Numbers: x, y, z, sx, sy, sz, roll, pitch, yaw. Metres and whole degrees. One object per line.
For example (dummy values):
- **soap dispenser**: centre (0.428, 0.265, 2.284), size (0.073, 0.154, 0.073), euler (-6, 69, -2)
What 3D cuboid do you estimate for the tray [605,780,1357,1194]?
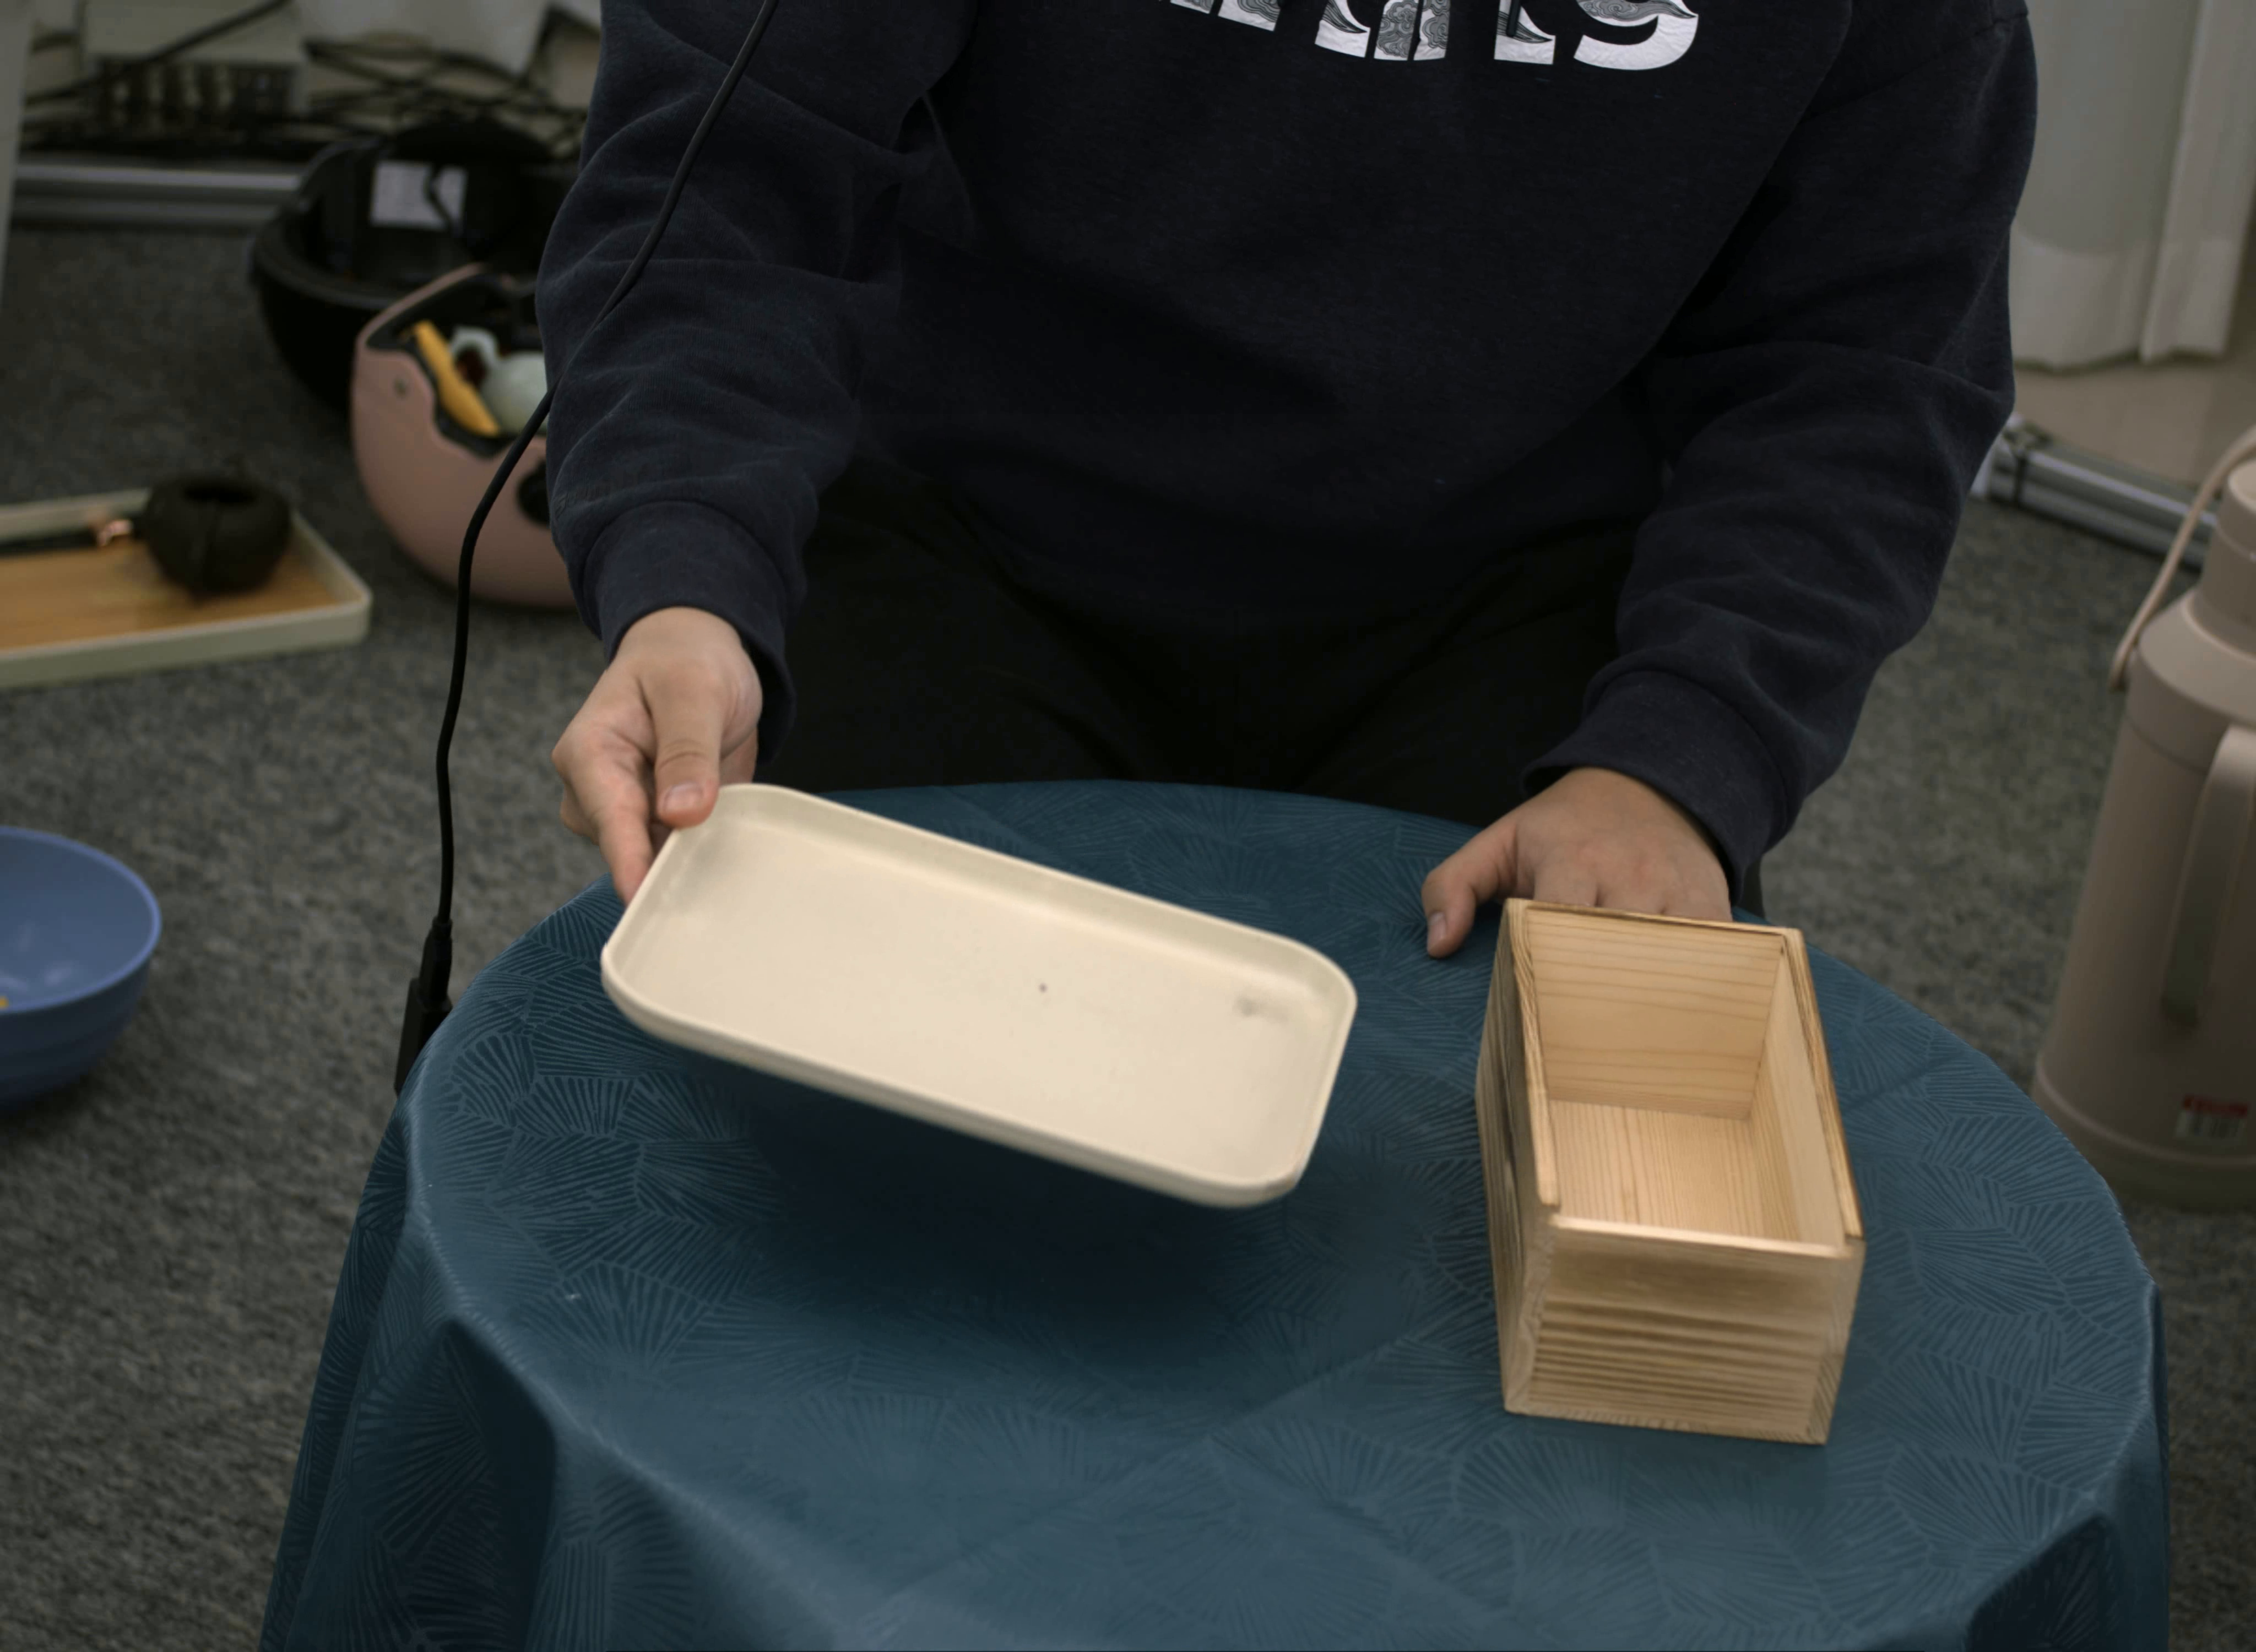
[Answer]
- **tray**: centre (-0.047, 0.053, 1.763), size (0.239, 0.017, 0.172), euler (16, 27, 4)

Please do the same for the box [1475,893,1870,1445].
- **box**: centre (0.179, 0.112, 1.784), size (0.107, 0.080, 0.212), euler (6, 27, -3)
